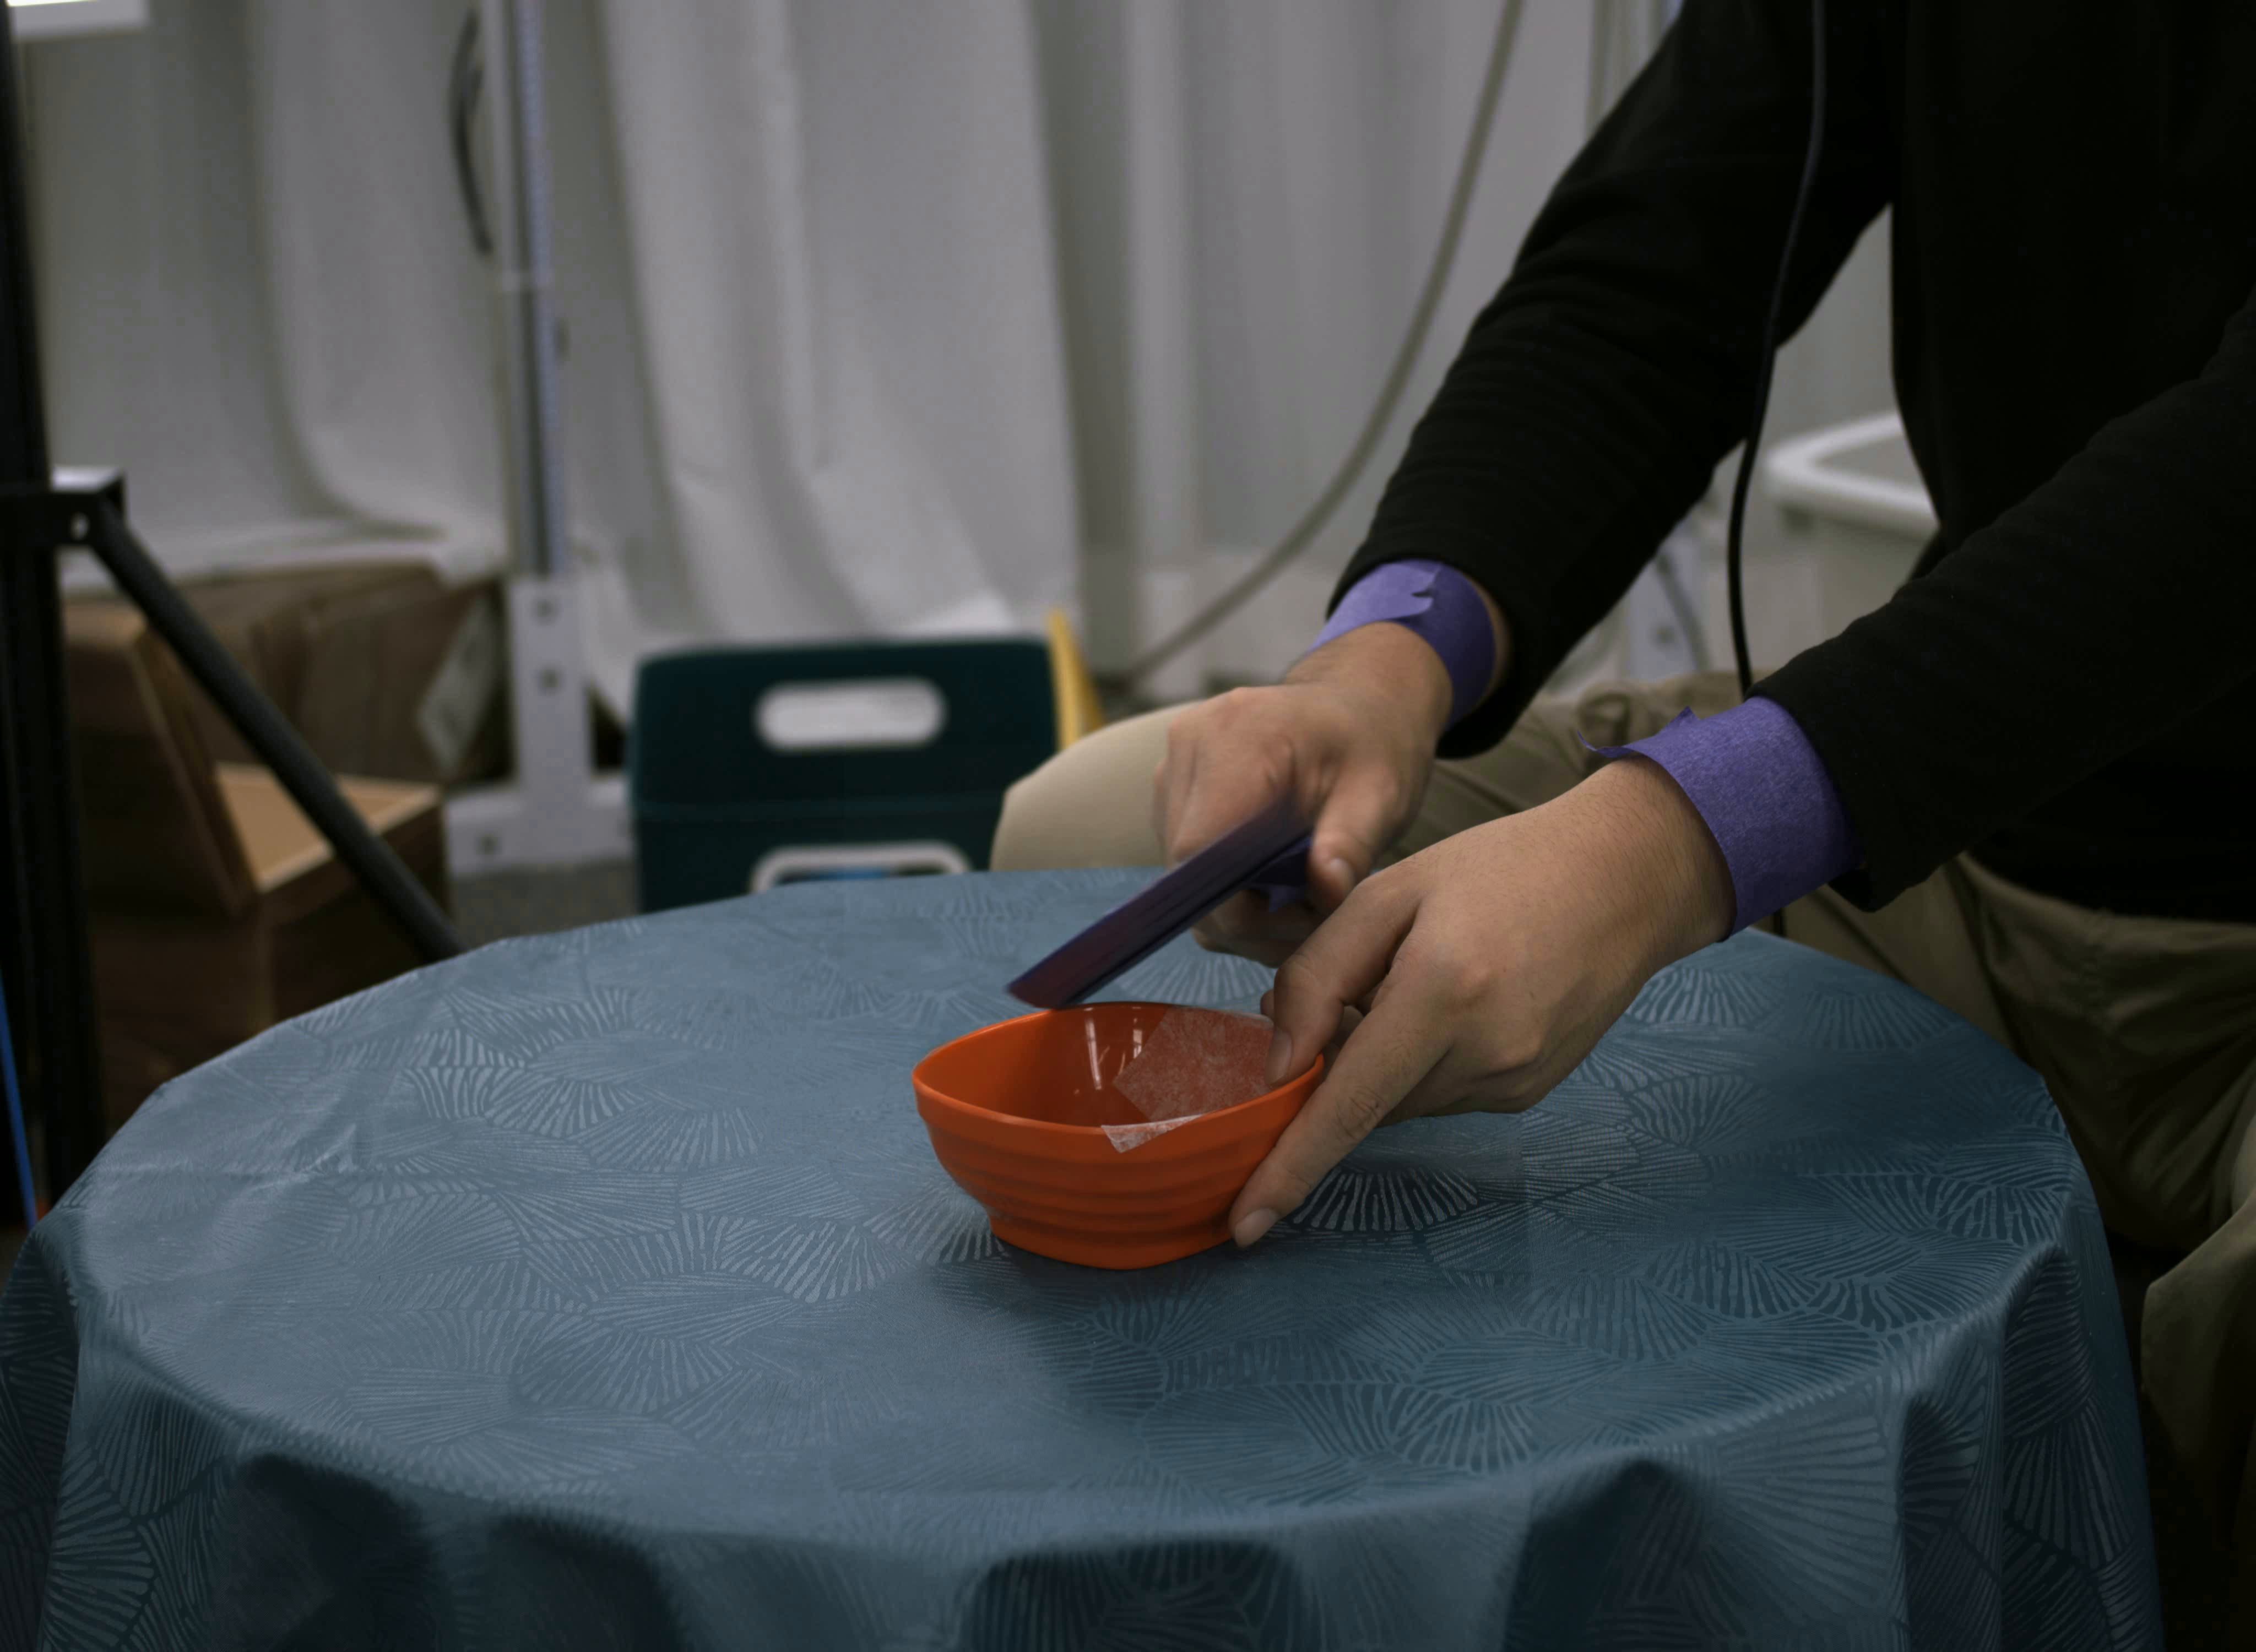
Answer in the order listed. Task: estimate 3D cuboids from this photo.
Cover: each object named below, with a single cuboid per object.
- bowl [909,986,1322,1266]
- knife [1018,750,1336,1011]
[{"bbox_3d":[-0.002,0.088,1.520,0.118,0.051,0.119,-6,17,0],"label":"bowl"},{"bbox_3d":[0.017,0.022,1.571,0.104,0.032,0.313,-34,-7,1],"label":"knife"}]
